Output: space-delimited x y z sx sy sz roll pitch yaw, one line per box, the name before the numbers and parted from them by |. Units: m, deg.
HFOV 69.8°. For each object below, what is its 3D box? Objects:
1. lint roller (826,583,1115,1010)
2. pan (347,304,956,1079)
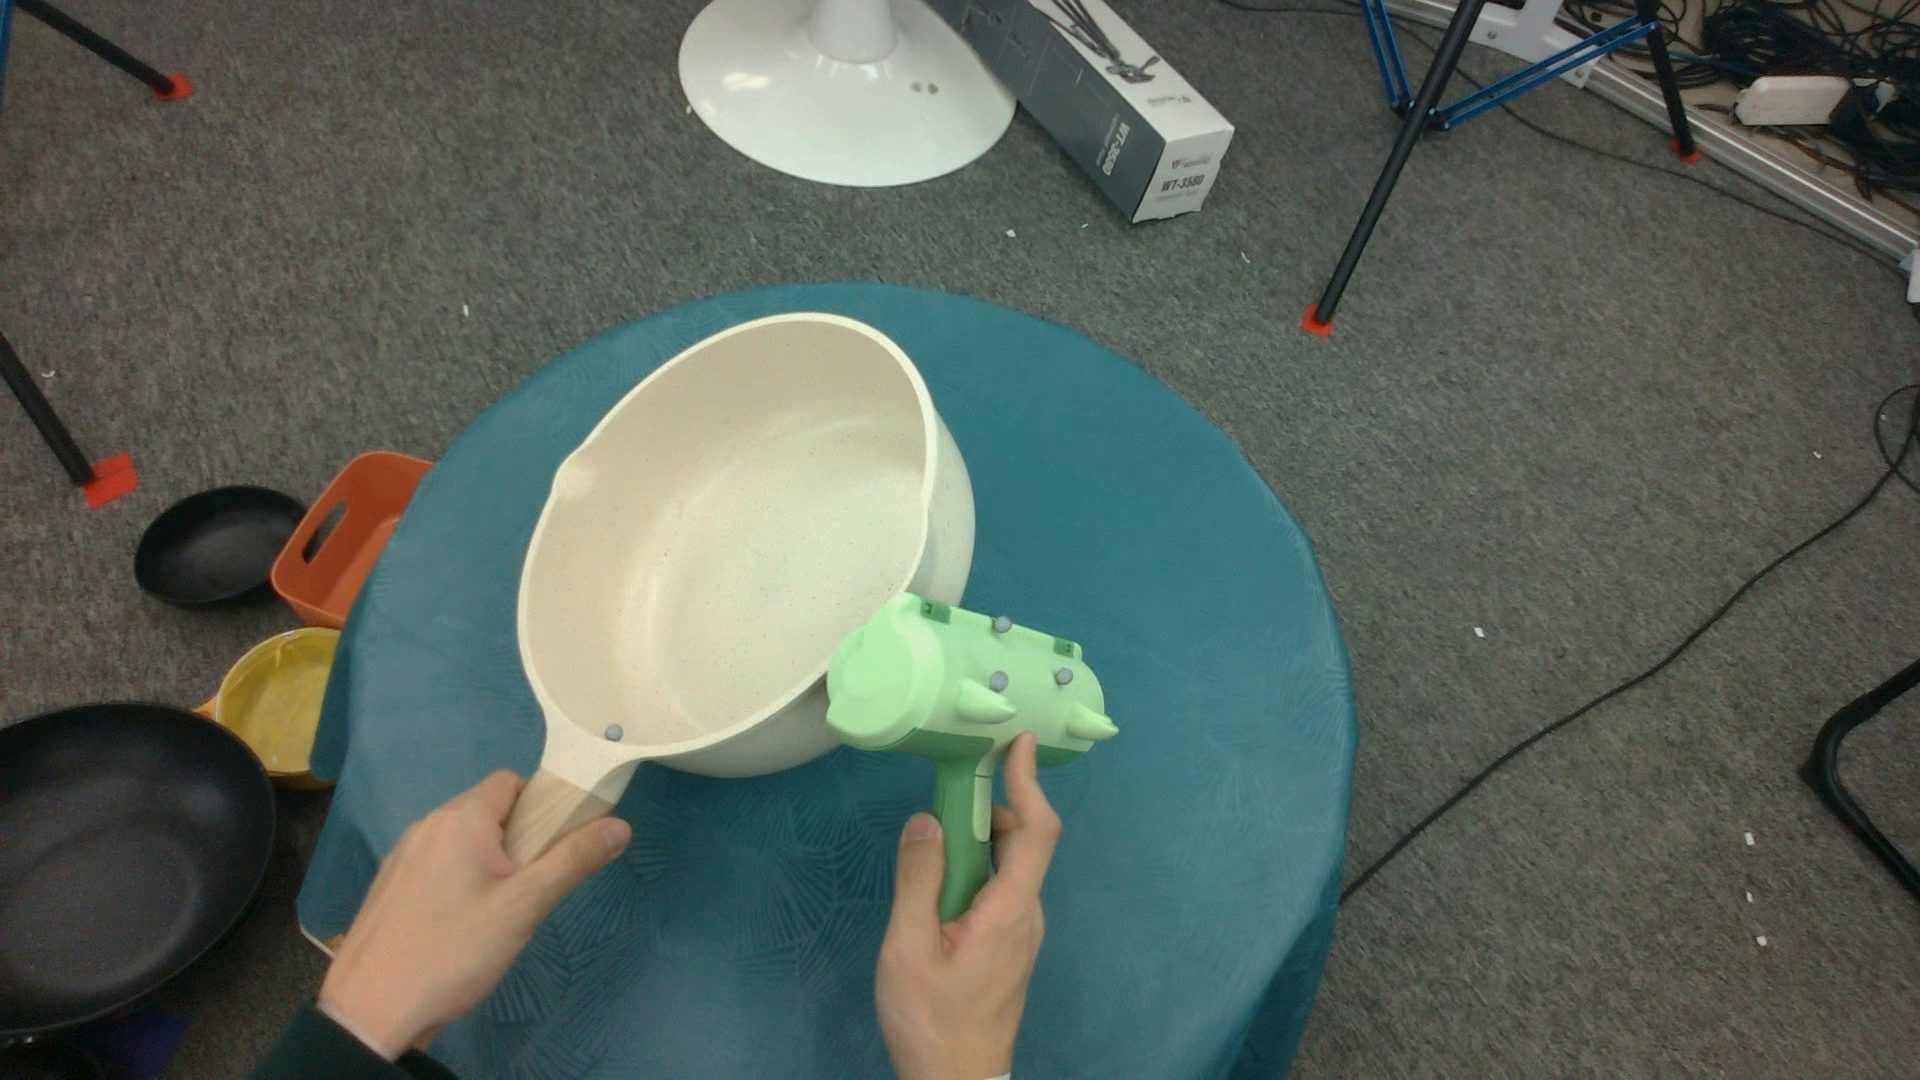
lint roller | 0.014 0.123 0.639 0.082 0.199 0.183 -7 76 26
pan | -0.156 0.081 0.688 0.263 0.102 0.436 14 71 34
